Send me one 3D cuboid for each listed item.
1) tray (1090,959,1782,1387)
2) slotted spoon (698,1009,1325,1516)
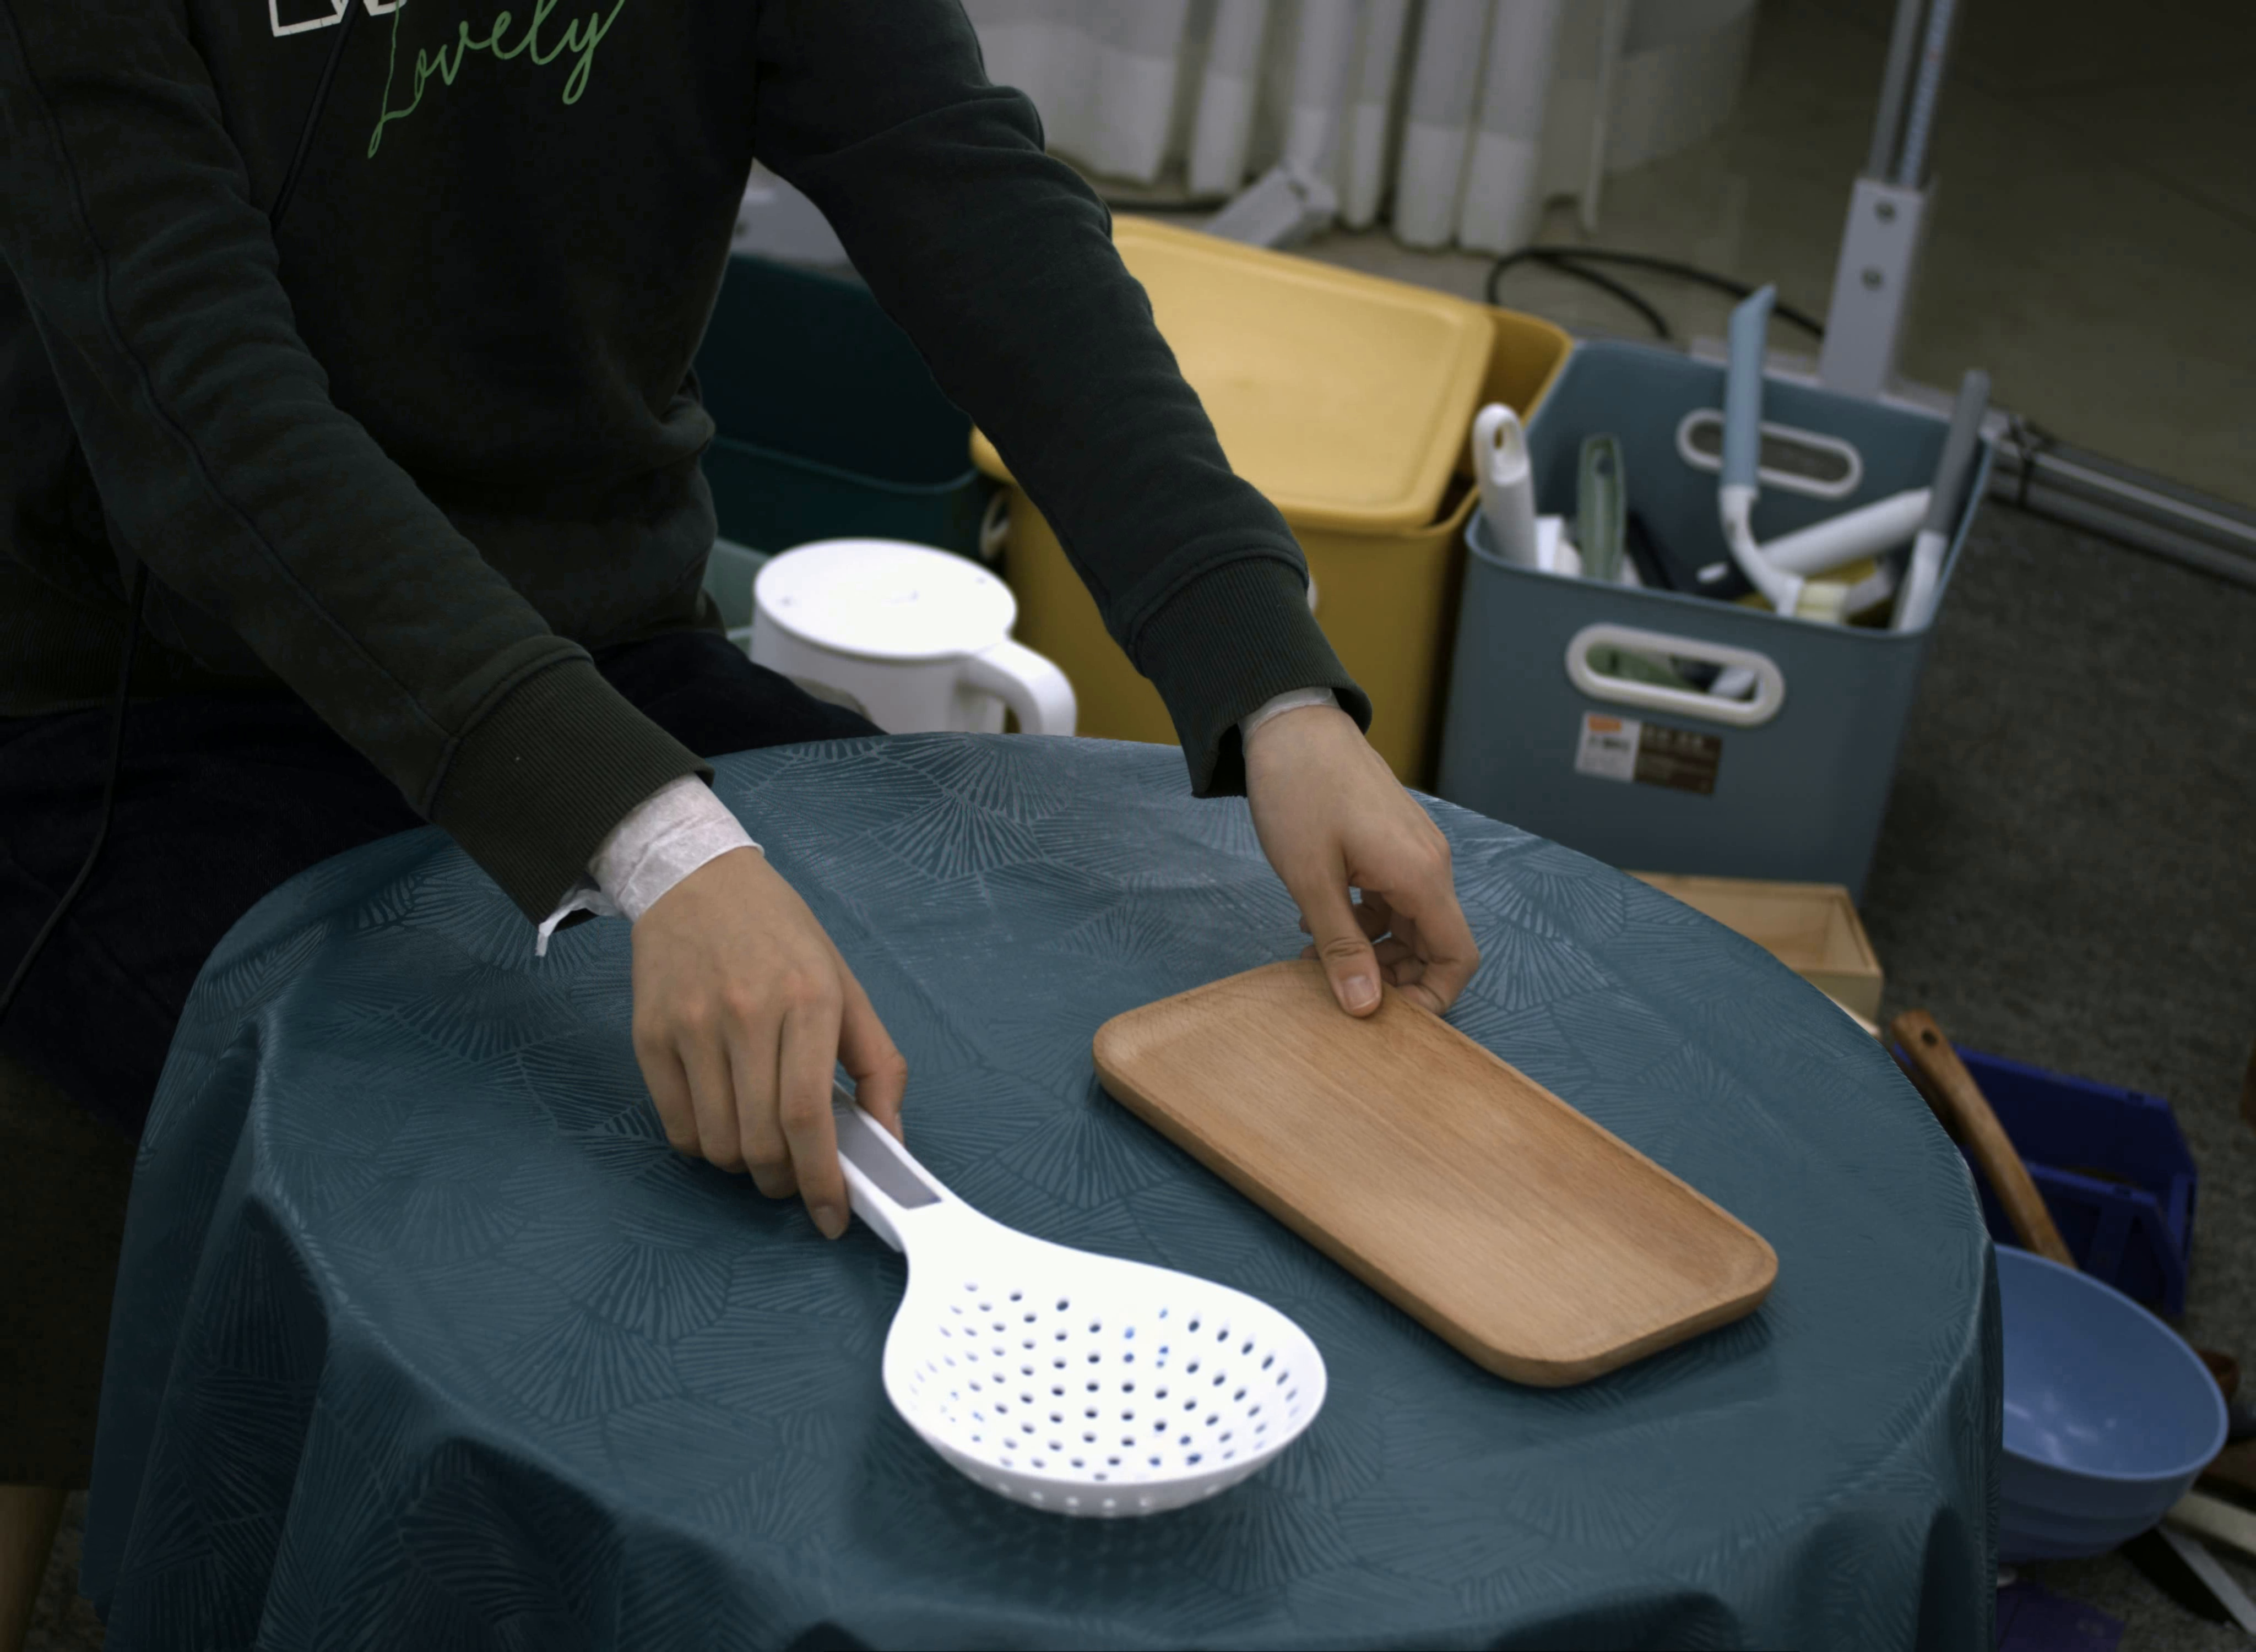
[{"bbox_3d":[0.102,0.116,1.818,0.130,0.023,0.253,-14,32,-36],"label":"tray"},{"bbox_3d":[-0.059,0.134,1.716,0.135,0.045,0.353,-8,30,-27],"label":"slotted spoon"}]
